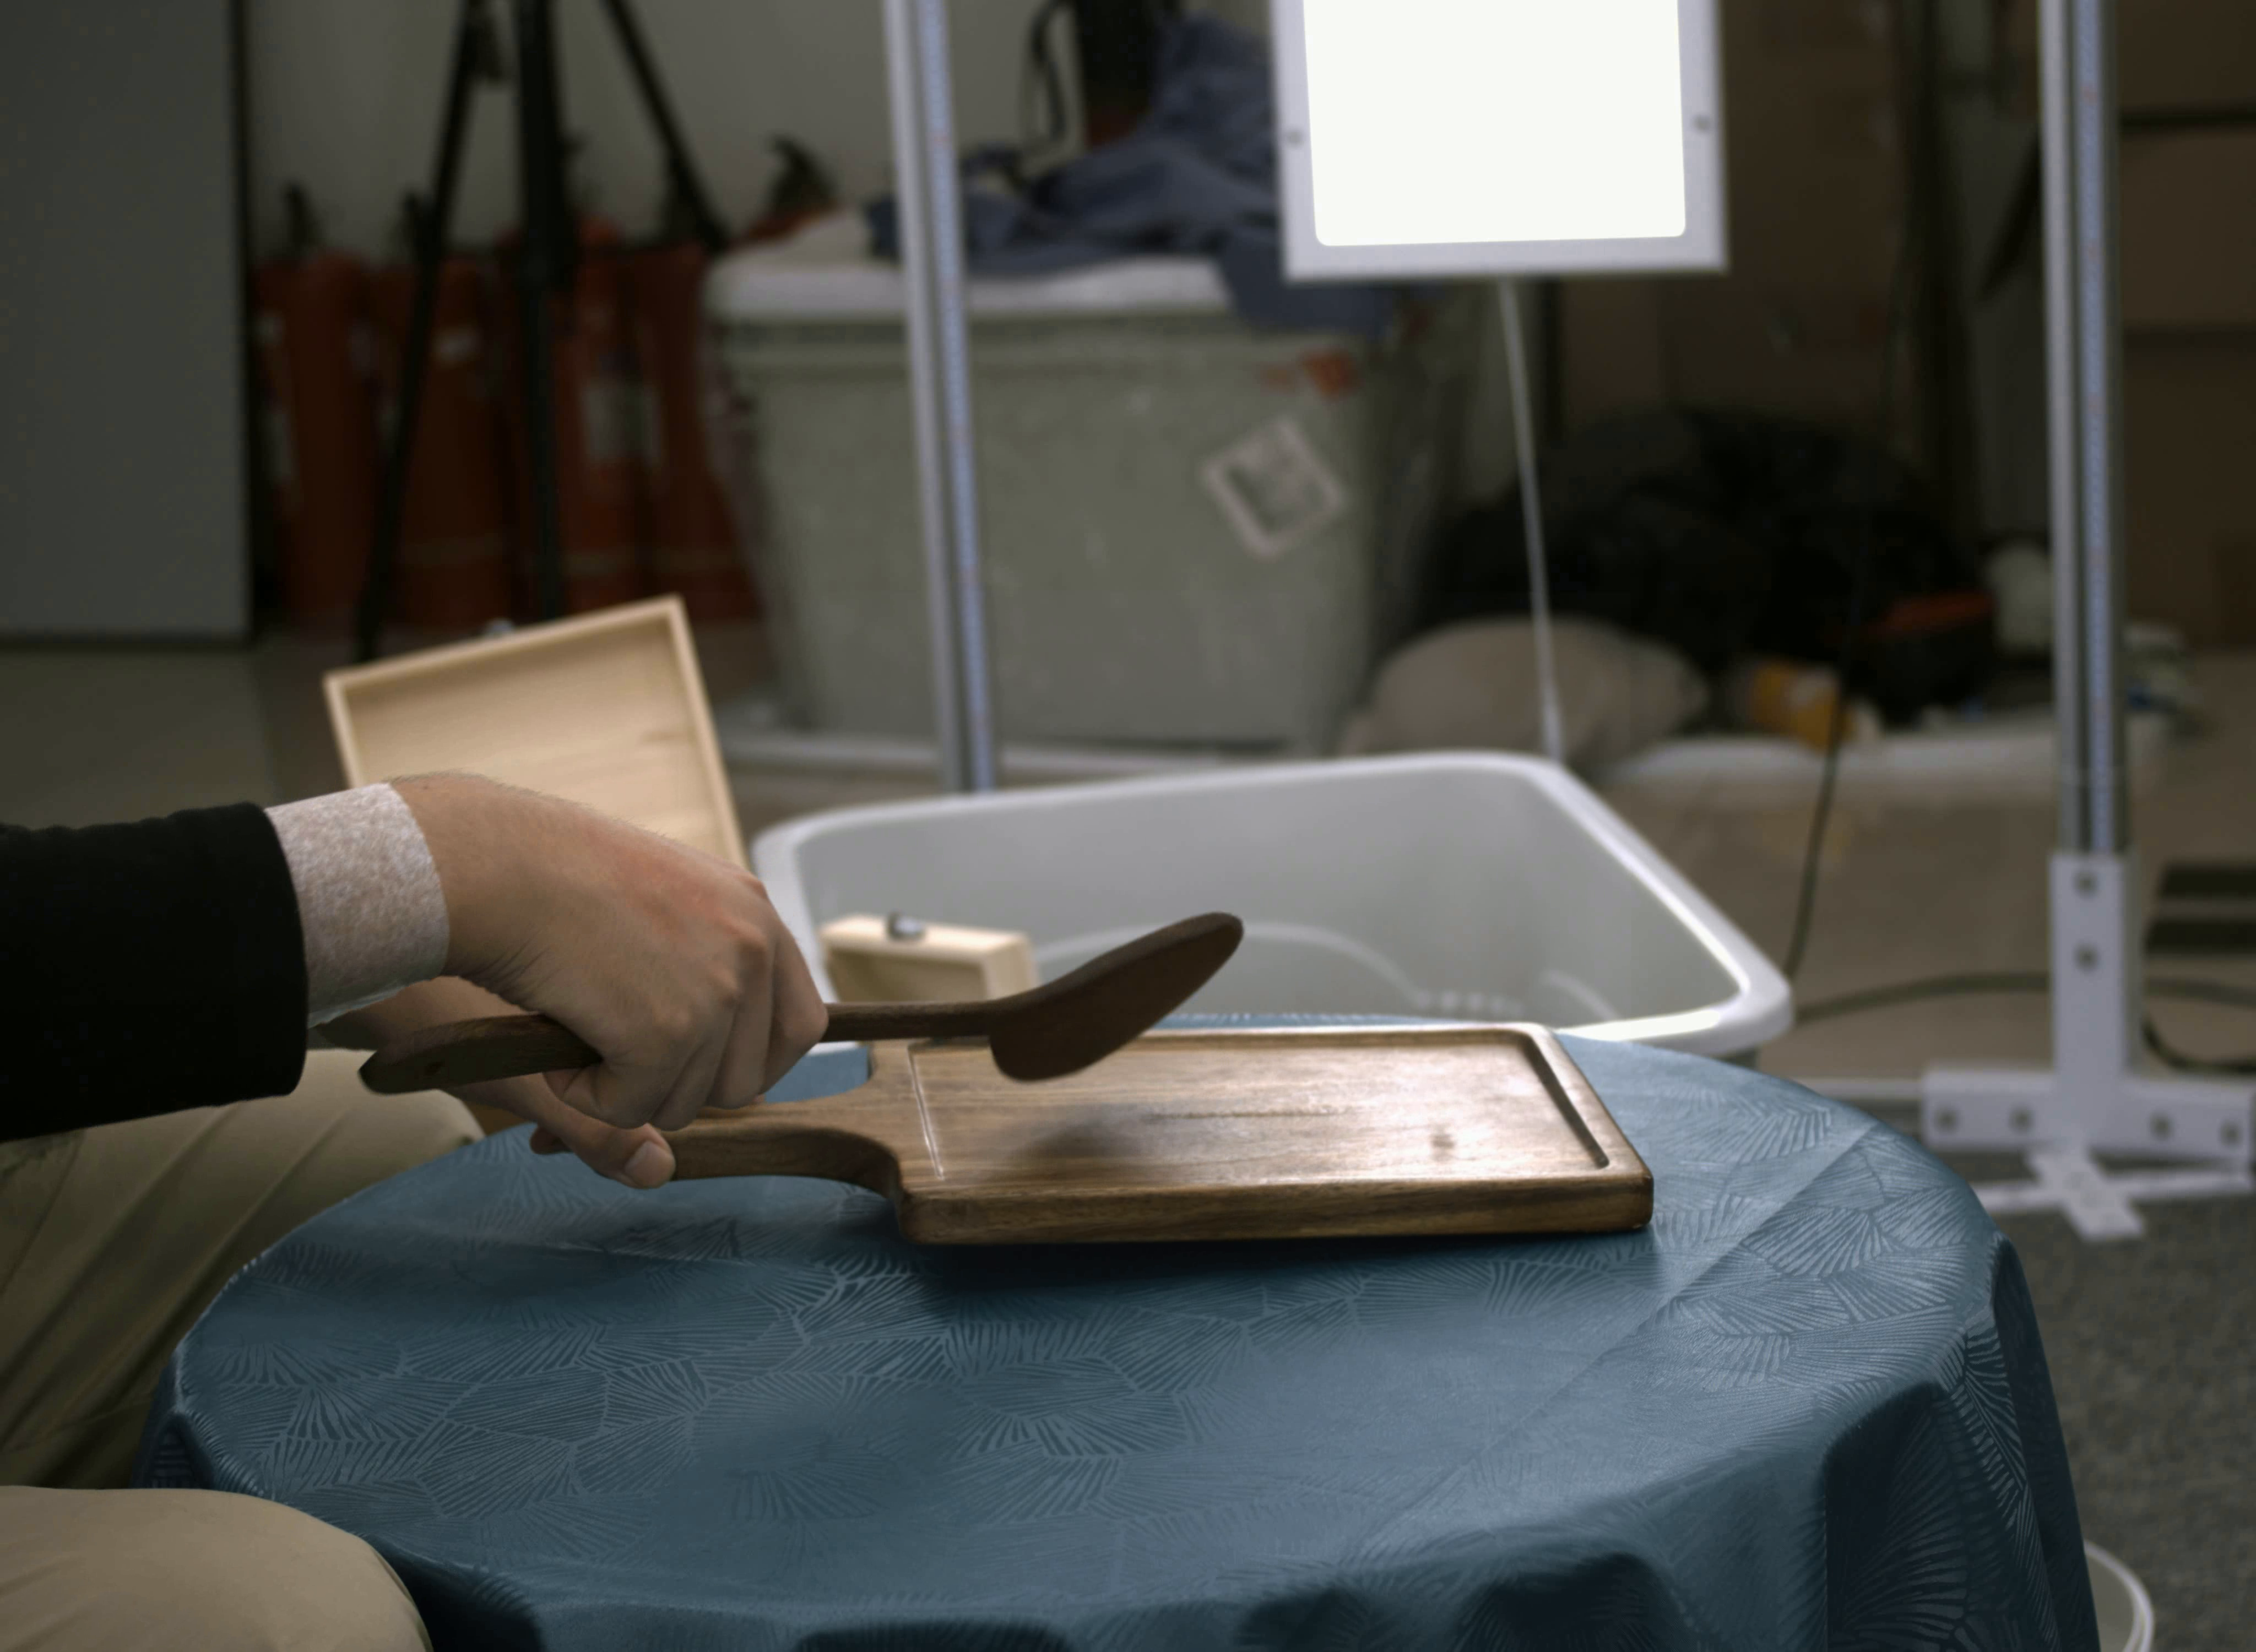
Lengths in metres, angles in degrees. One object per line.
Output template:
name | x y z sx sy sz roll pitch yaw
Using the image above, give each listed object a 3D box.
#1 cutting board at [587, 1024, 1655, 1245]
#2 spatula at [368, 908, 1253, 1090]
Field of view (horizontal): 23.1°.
cutting board | -0.009 0.104 1.887 0.350 0.023 0.201 -1 13 -4
spatula | -0.097 0.061 1.746 0.376 0.016 0.098 0 -36 -49
